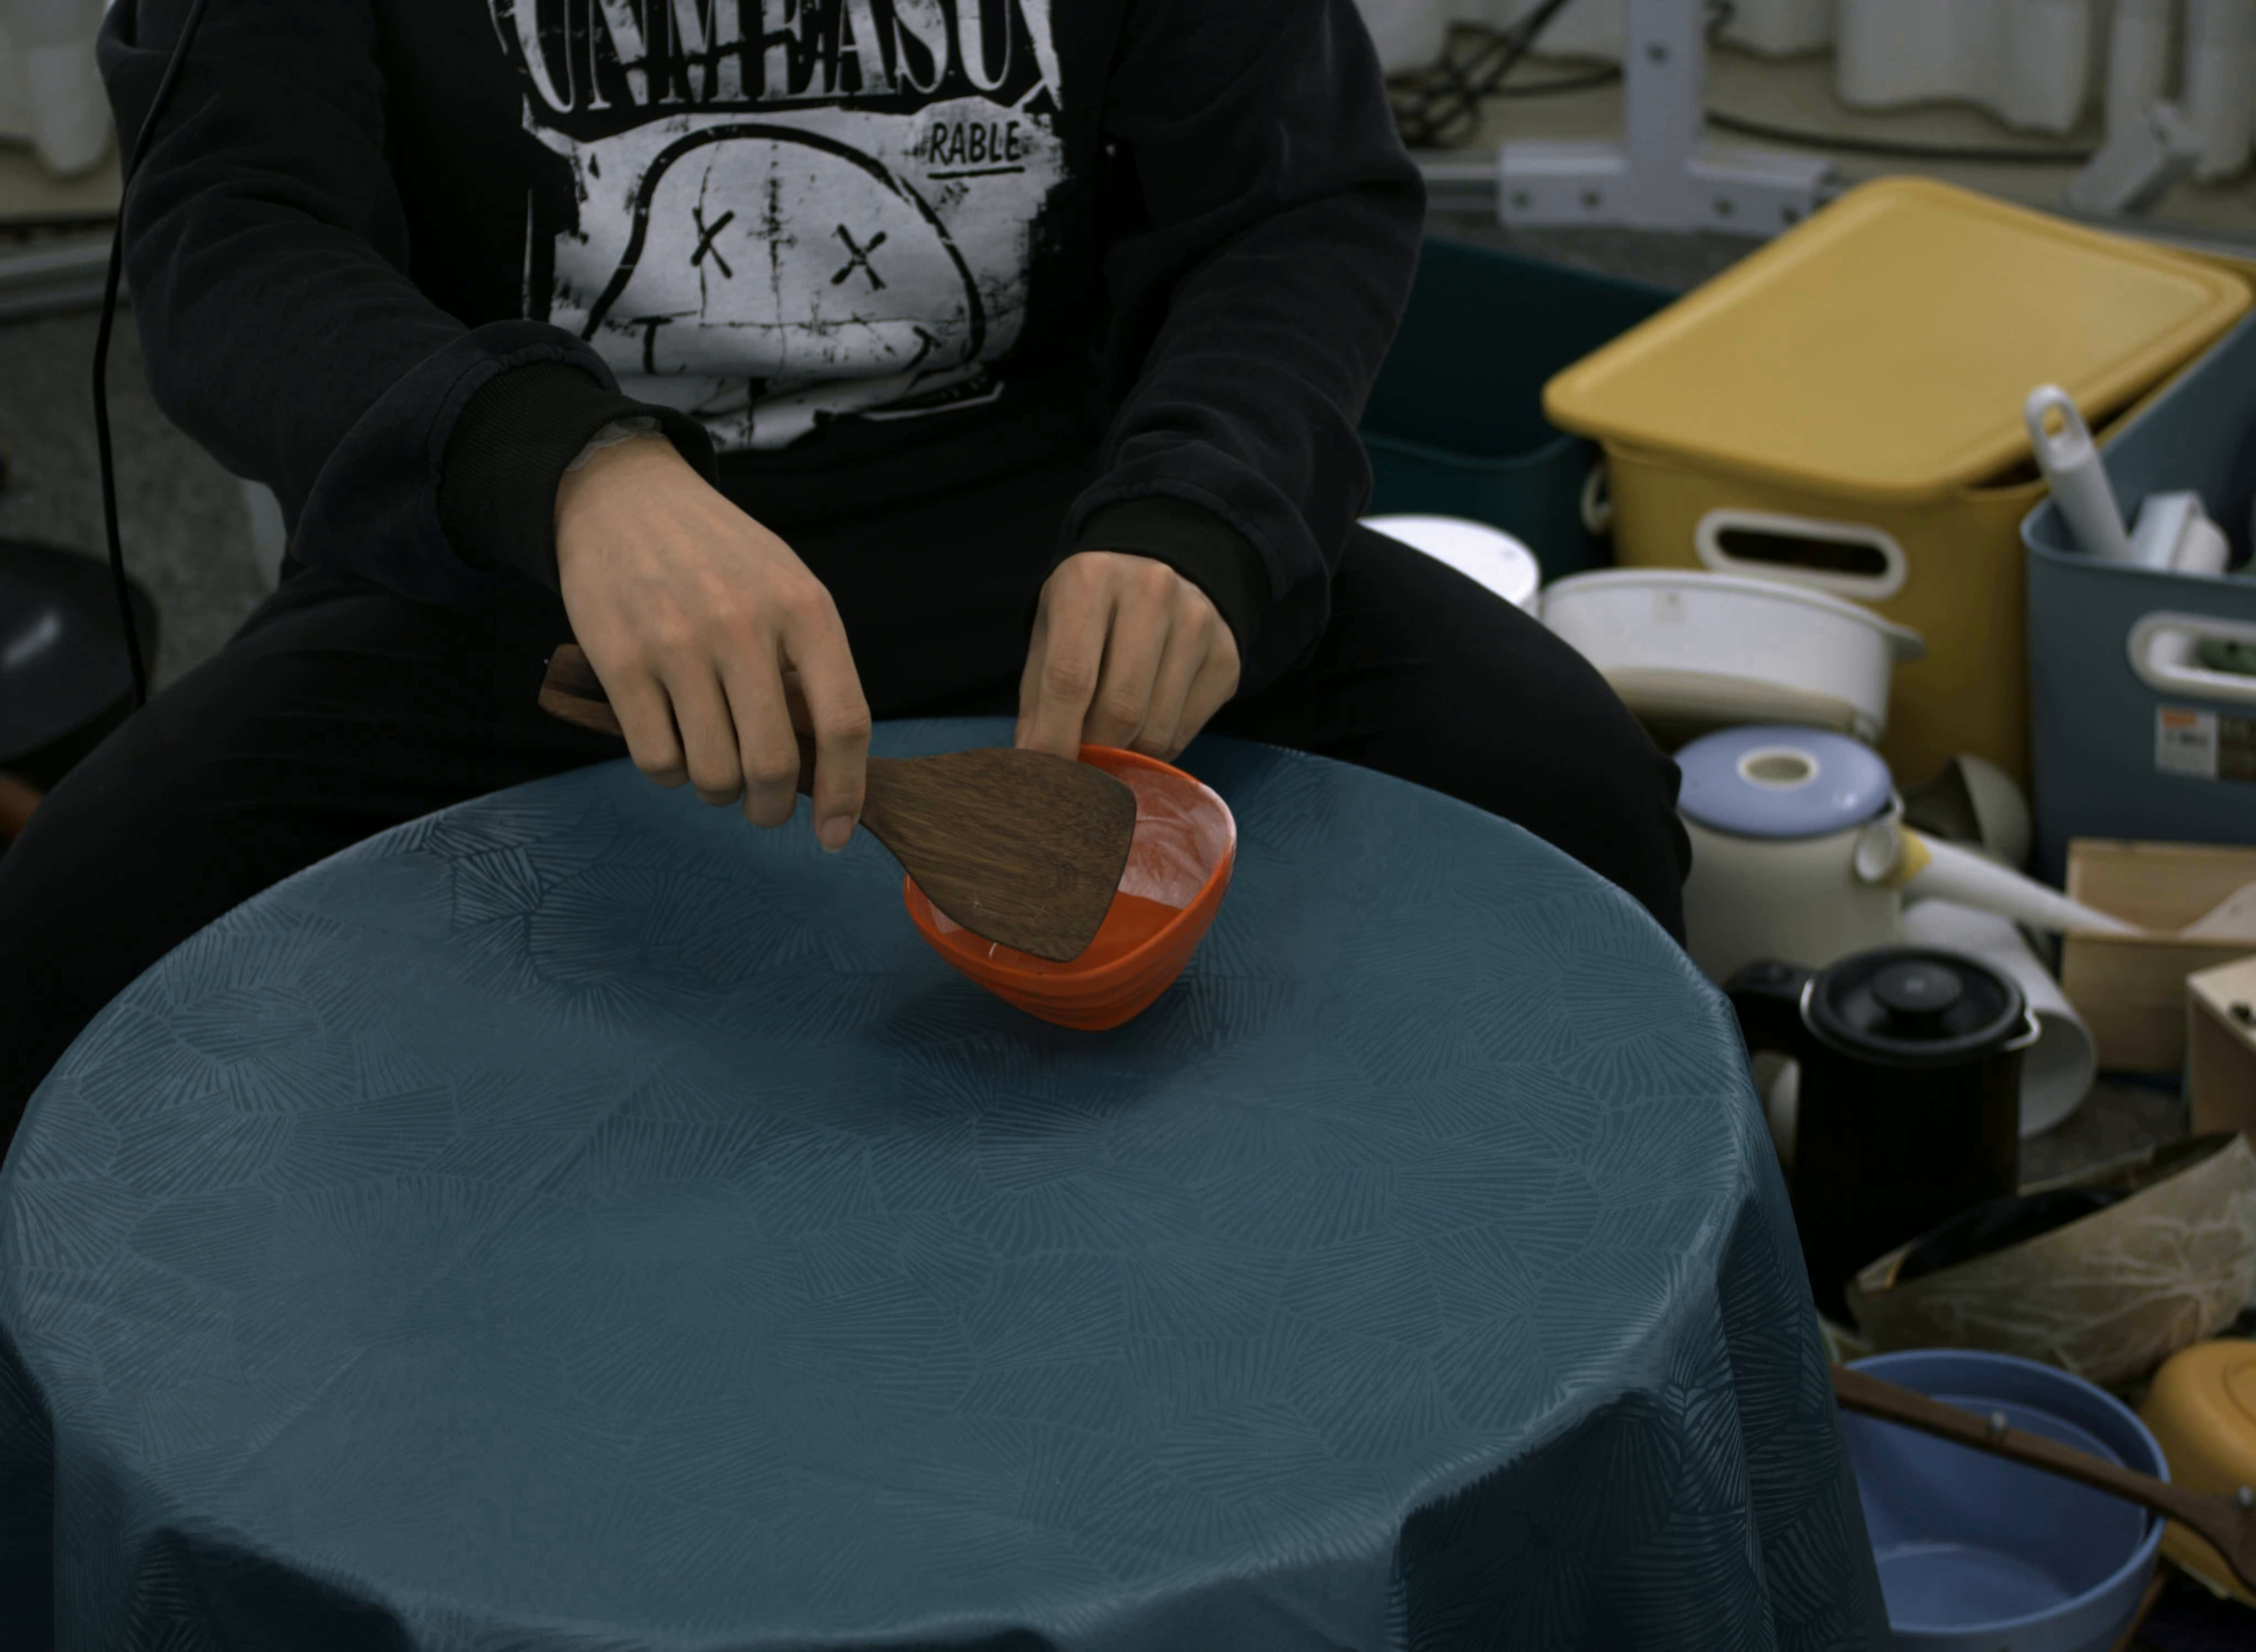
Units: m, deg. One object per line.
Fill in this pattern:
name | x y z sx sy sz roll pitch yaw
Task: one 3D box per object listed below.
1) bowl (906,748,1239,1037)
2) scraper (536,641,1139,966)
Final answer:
bowl | -0.015 0.030 1.970 0.118 0.050 0.121 -8 42 7
scraper | -0.101 -0.017 1.923 0.210 0.010 0.077 20 70 1
